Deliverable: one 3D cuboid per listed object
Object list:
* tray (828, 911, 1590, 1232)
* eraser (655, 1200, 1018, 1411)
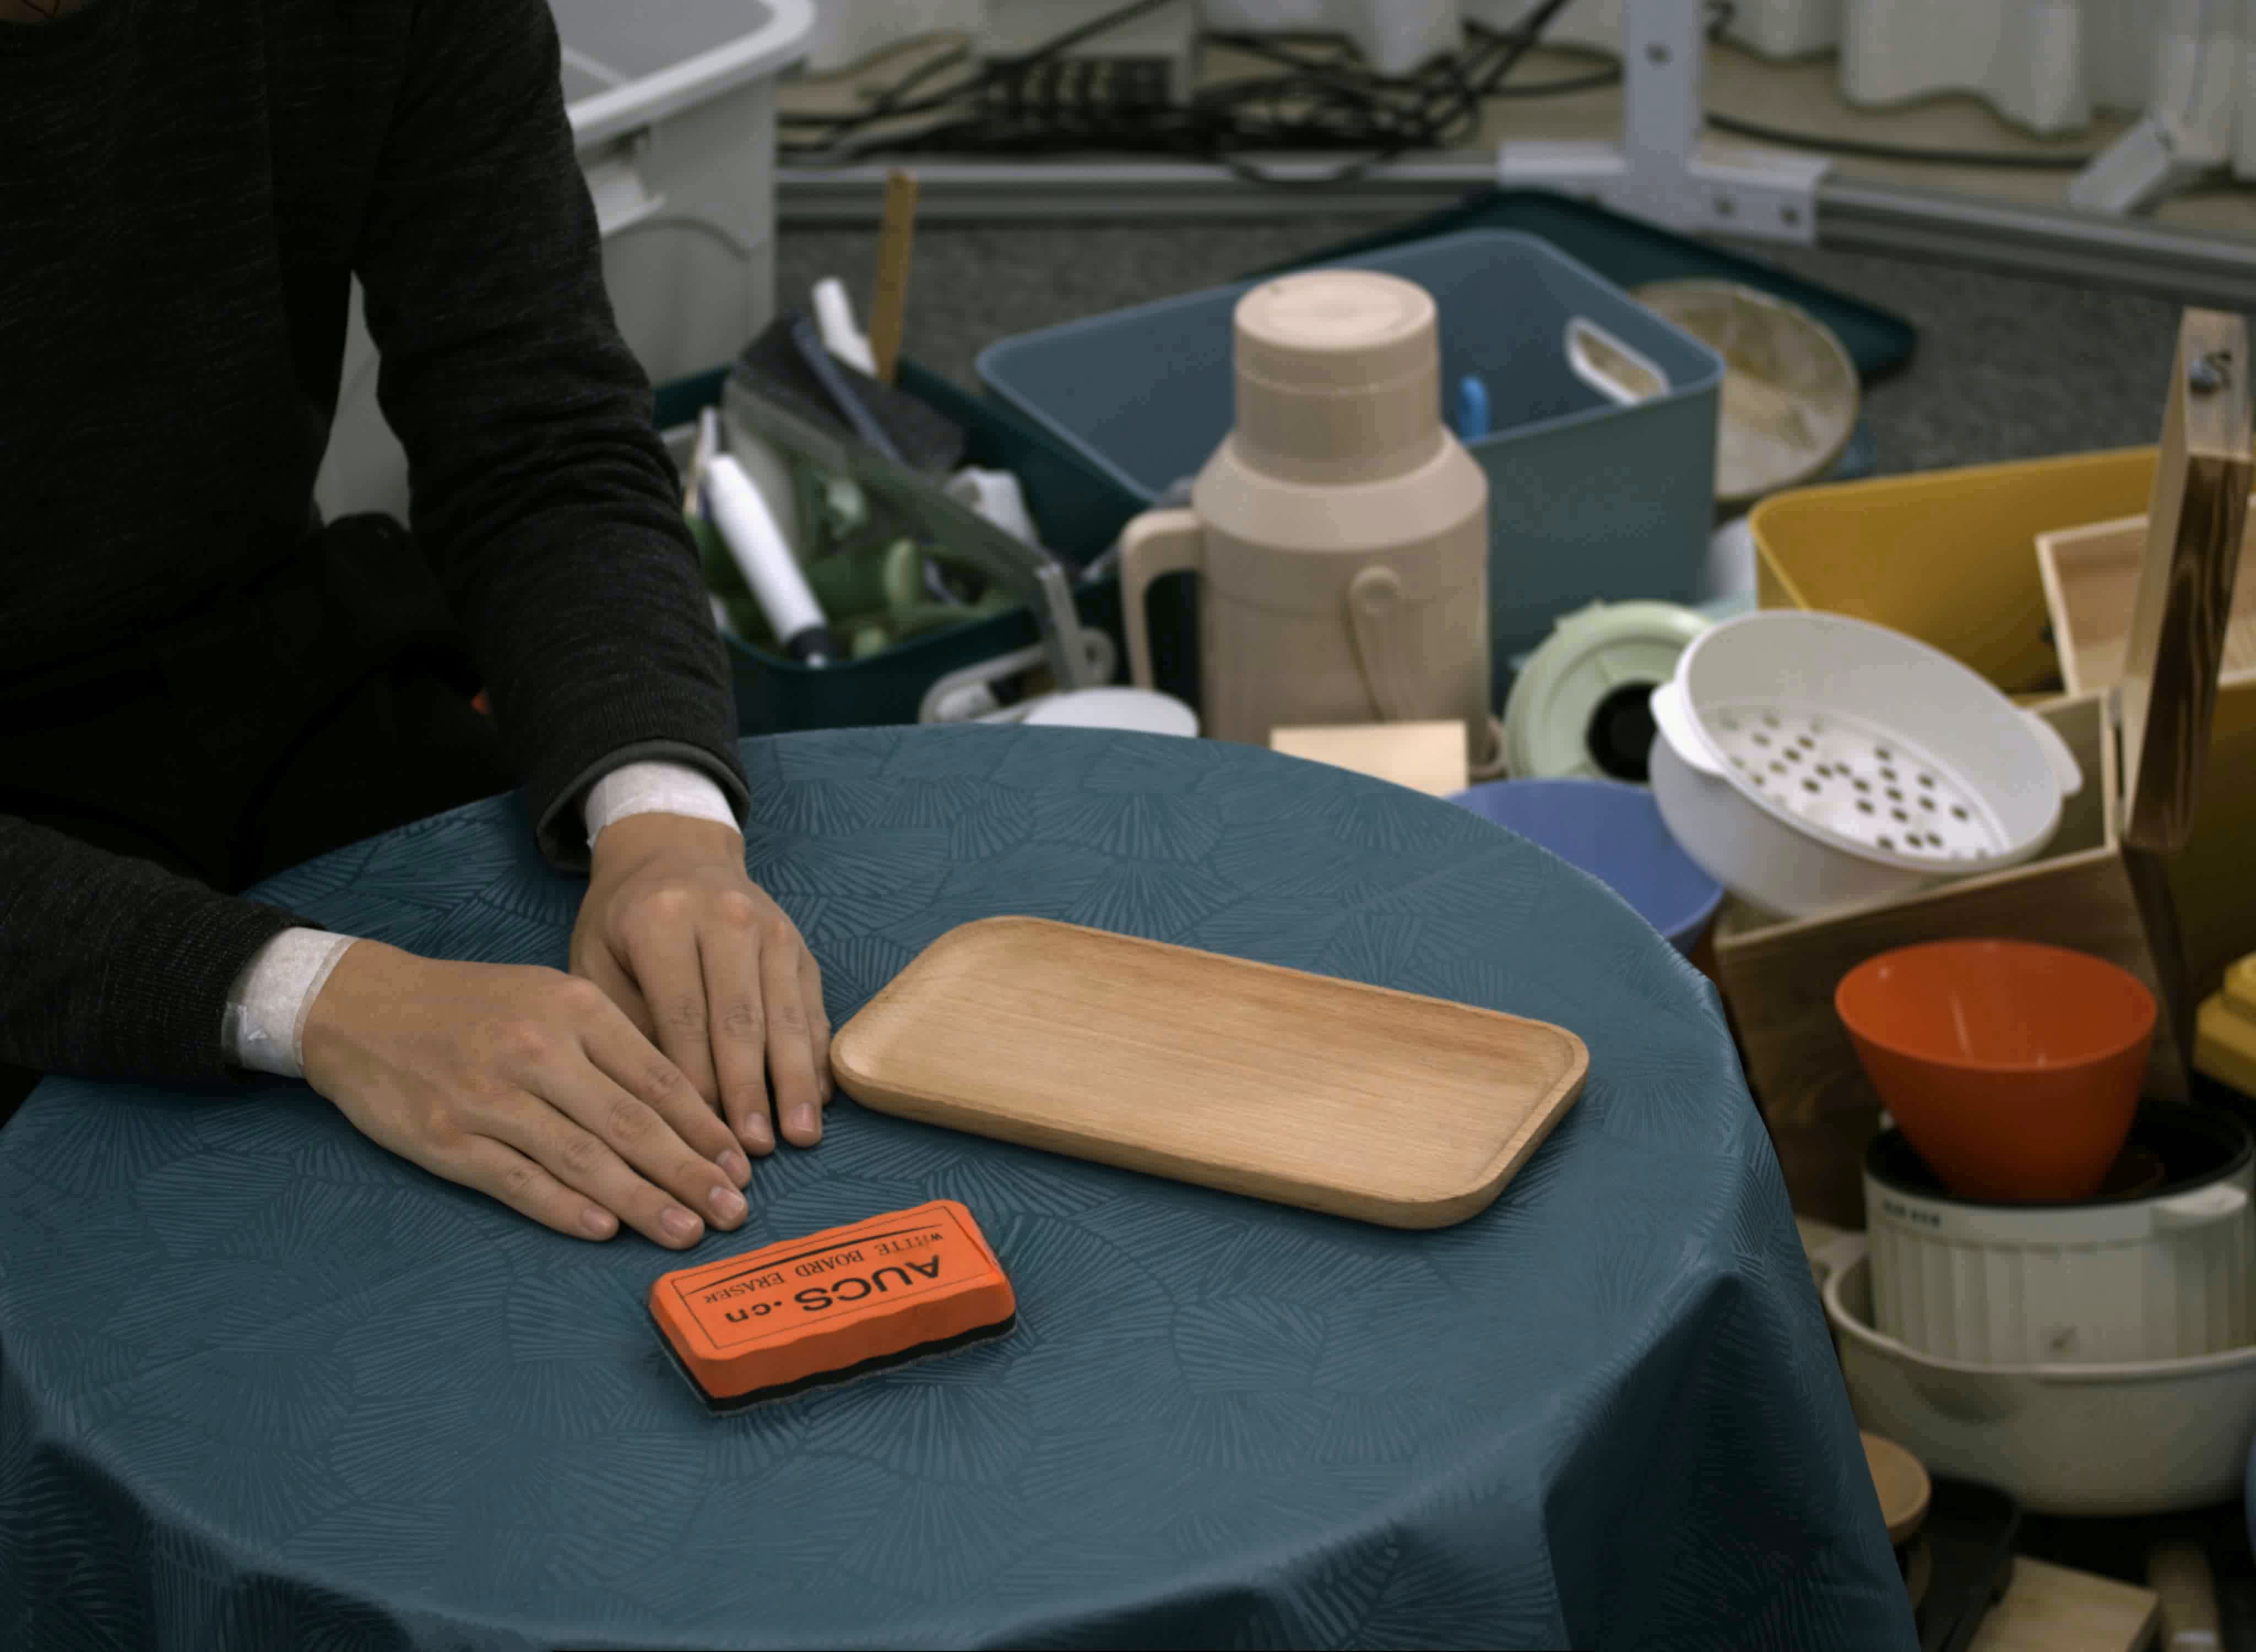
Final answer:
[{"bbox_3d":[0.027,0.083,1.915,0.249,0.022,0.132,11,28,26],"label":"tray"},{"bbox_3d":[-0.093,0.152,1.785,0.108,0.022,0.059,-13,28,-19],"label":"eraser"}]
